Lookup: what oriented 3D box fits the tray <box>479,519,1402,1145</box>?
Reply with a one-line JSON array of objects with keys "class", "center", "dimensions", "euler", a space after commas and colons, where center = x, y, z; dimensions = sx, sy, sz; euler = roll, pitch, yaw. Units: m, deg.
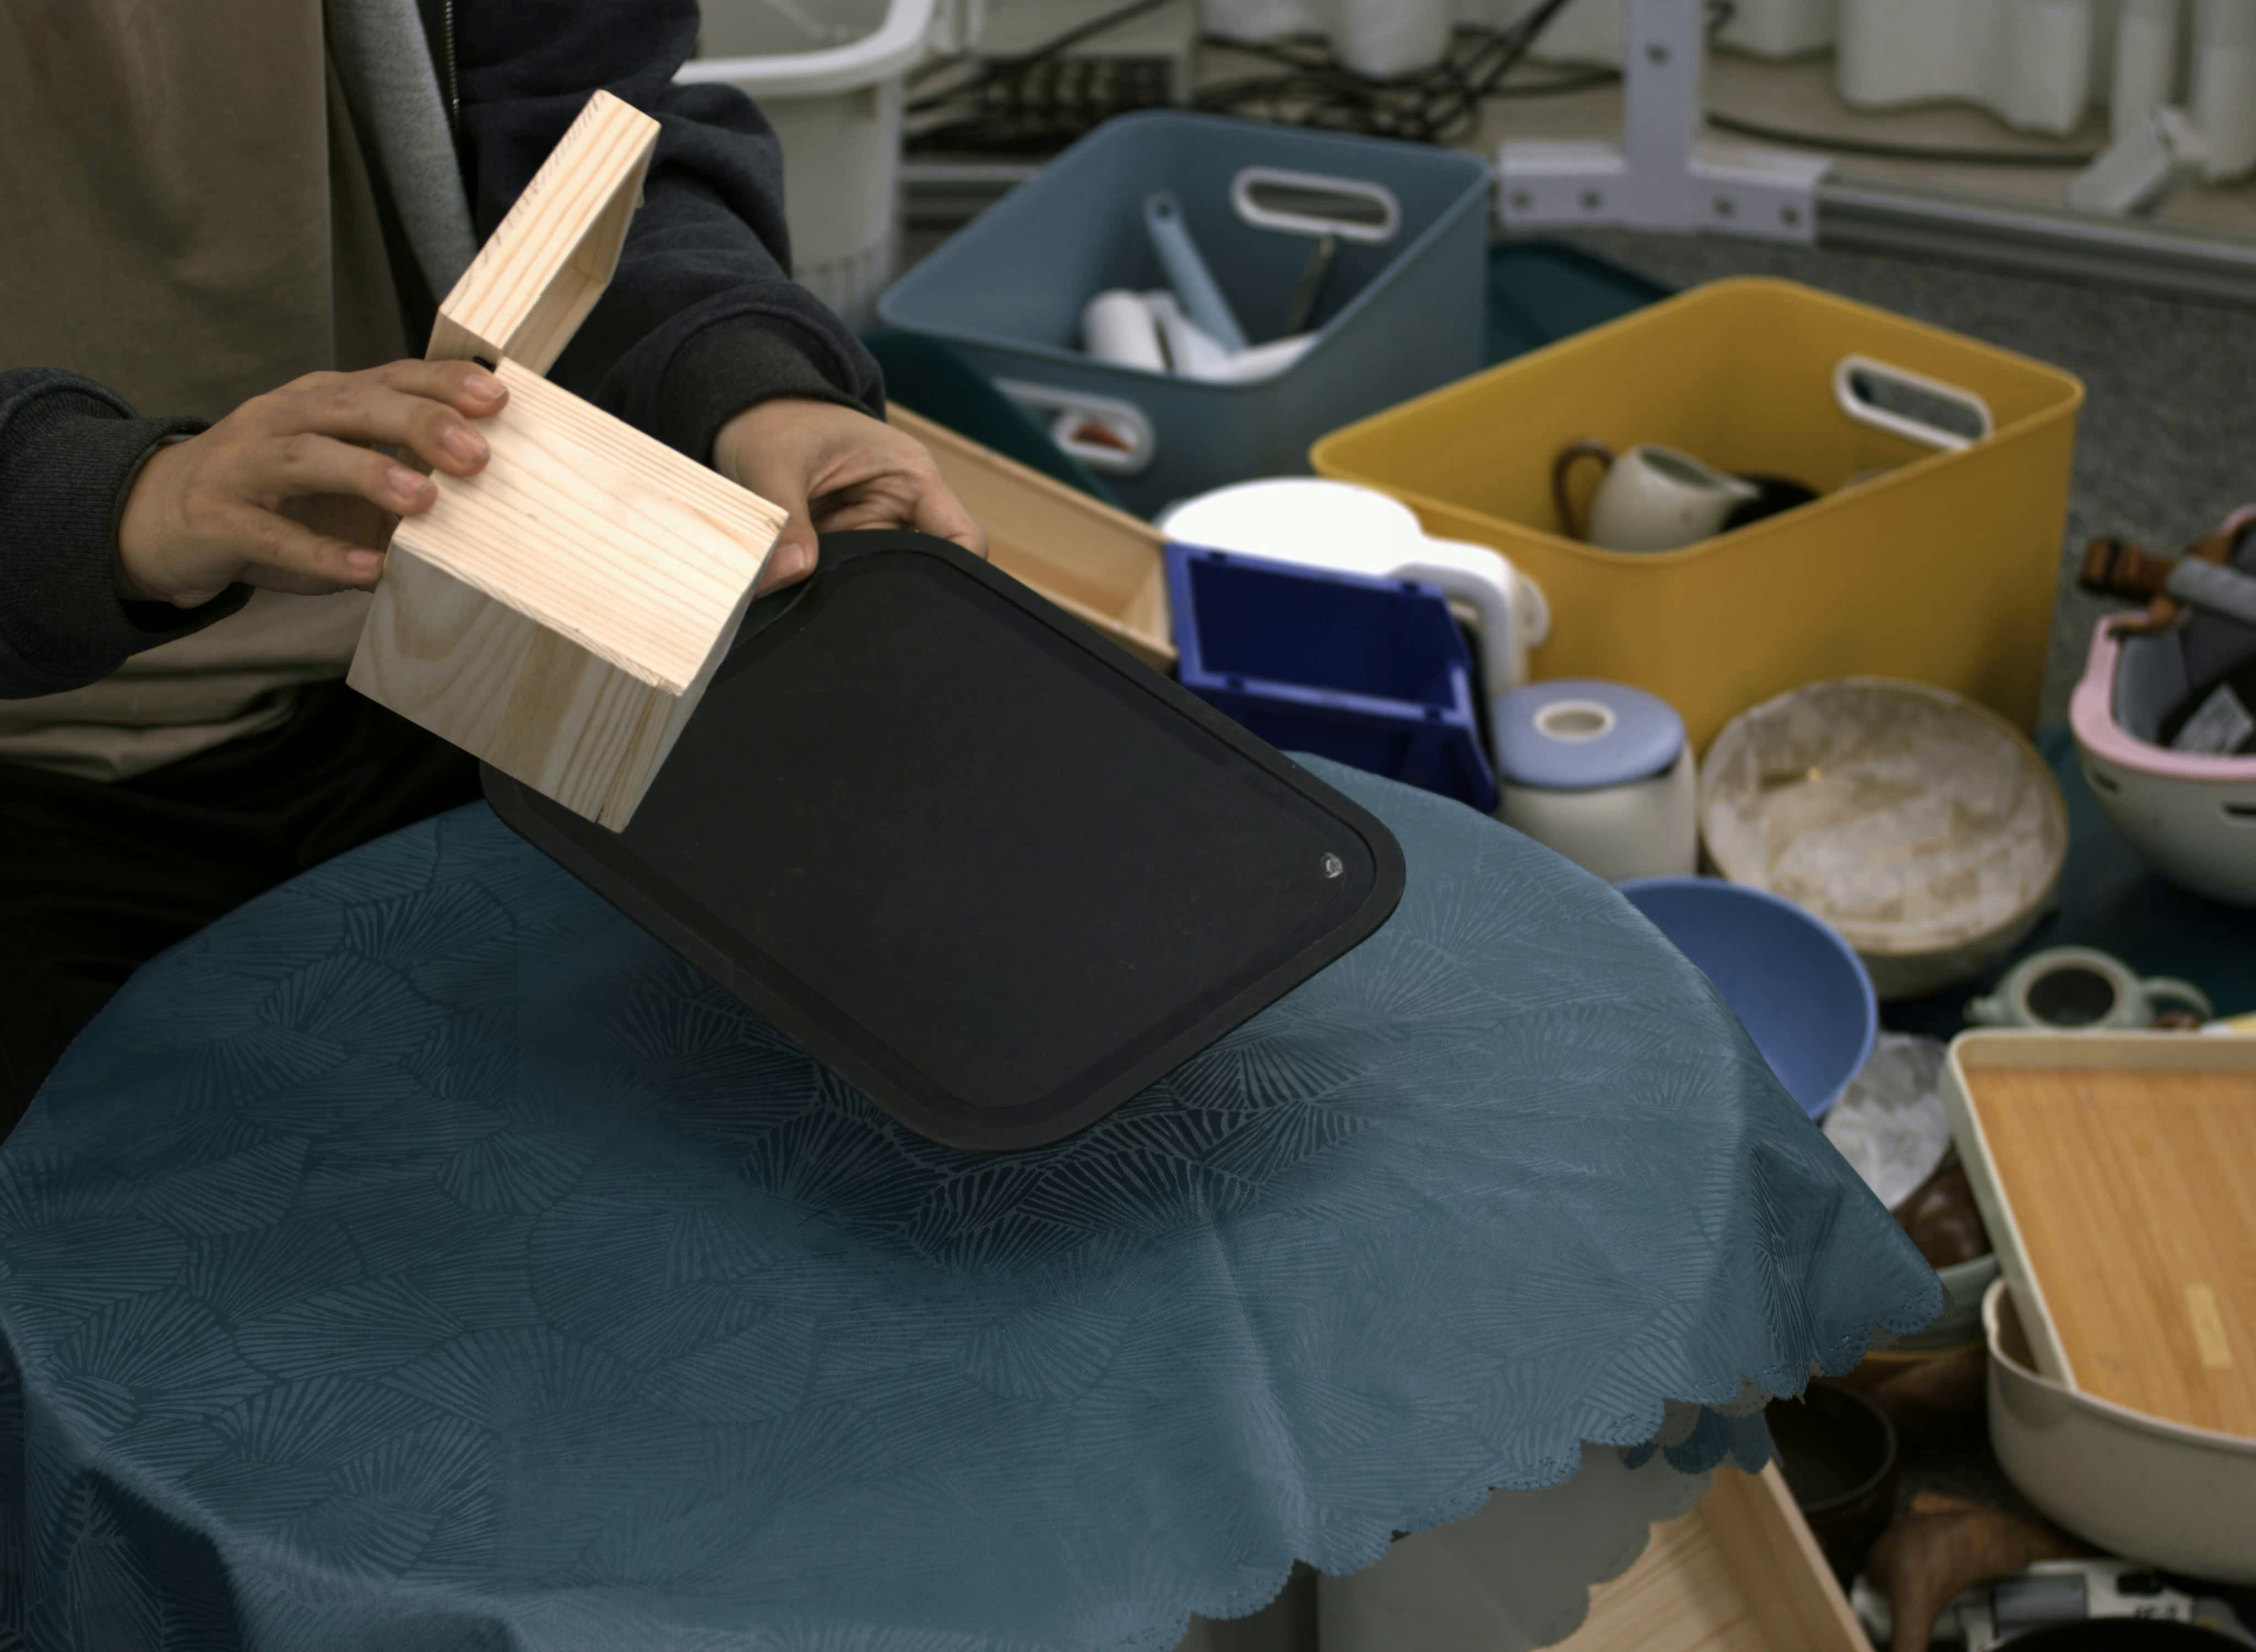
[{"class": "tray", "center": [-0.074, -0.008, 1.933], "dimensions": [0.213, 0.009, 0.326], "euler": [-32, 47, -28]}]

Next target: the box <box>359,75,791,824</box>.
[{"class": "box", "center": [-0.163, -0.120, 1.795], "dimensions": [0.133, 0.101, 0.188], "euler": [27, 61, -2]}]
